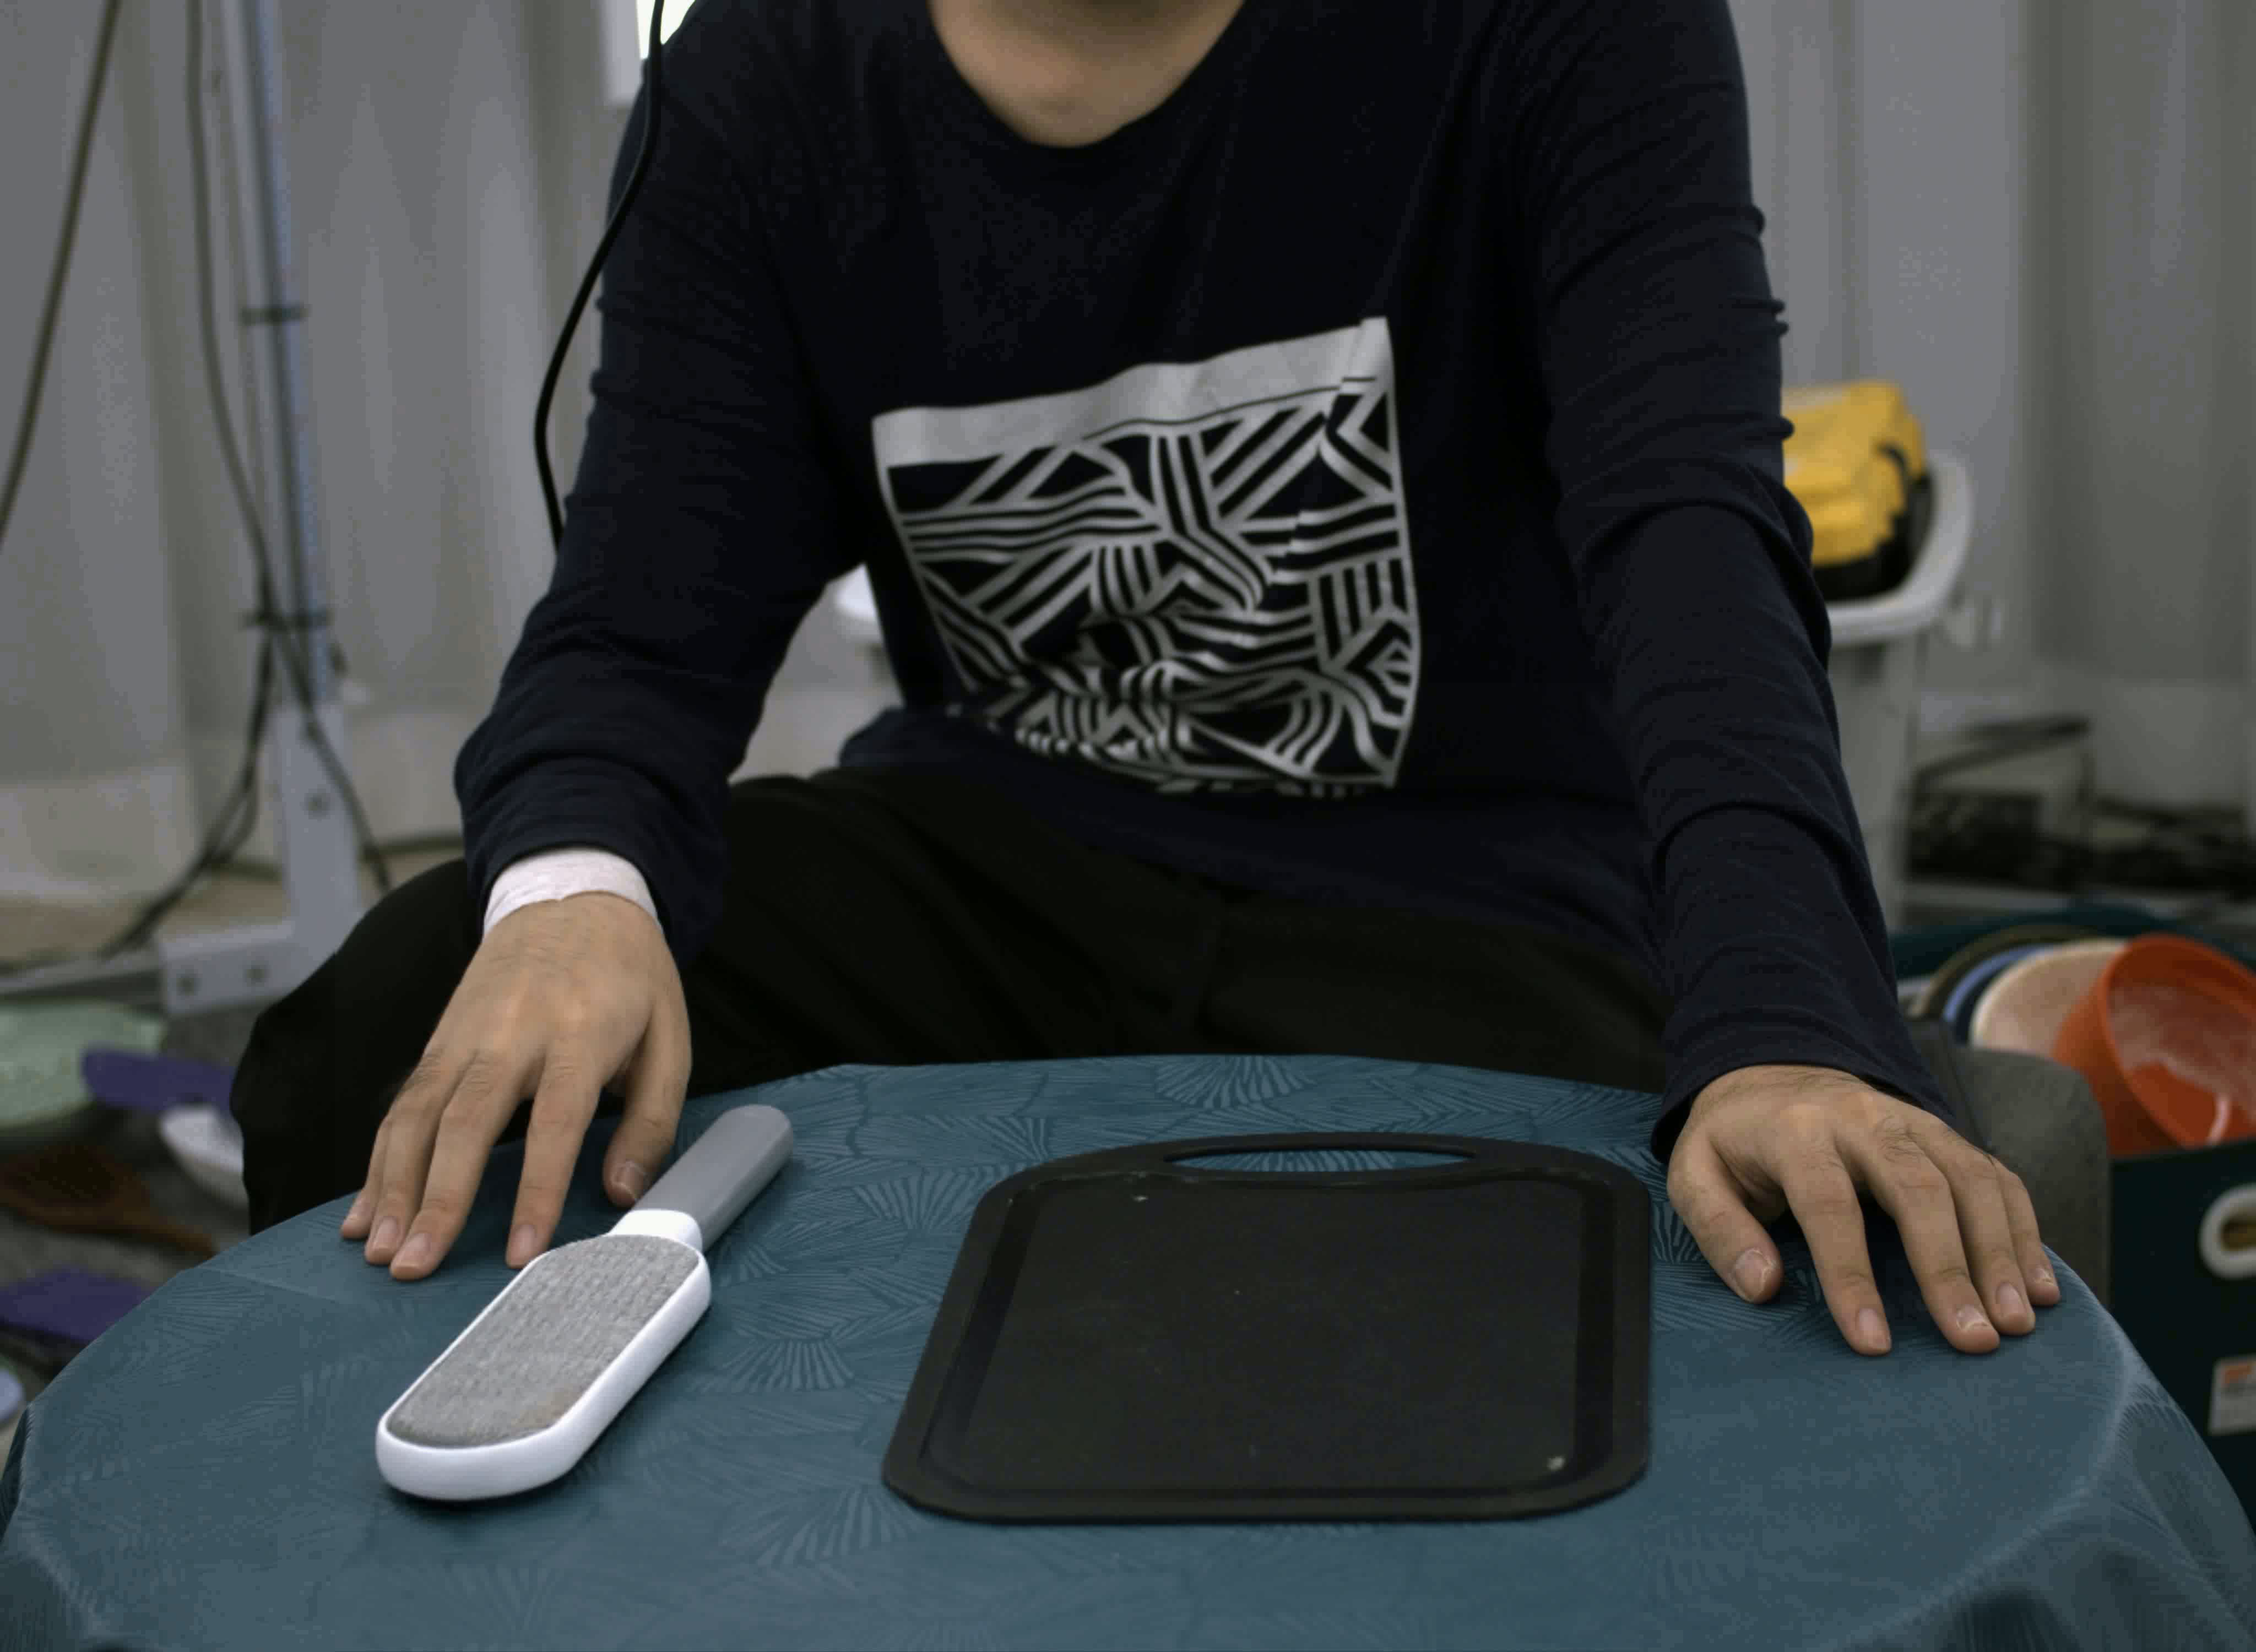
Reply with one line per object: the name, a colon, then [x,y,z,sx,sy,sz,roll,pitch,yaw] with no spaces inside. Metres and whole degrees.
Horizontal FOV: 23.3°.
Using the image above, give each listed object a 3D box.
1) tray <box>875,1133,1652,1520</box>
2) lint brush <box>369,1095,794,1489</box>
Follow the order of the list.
tray: [0.046,0.140,1.601,0.210,0.010,0.327,-1,15,7]
lint brush: [-0.151,0.134,1.620,0.060,0.021,0.310,-4,14,14]
